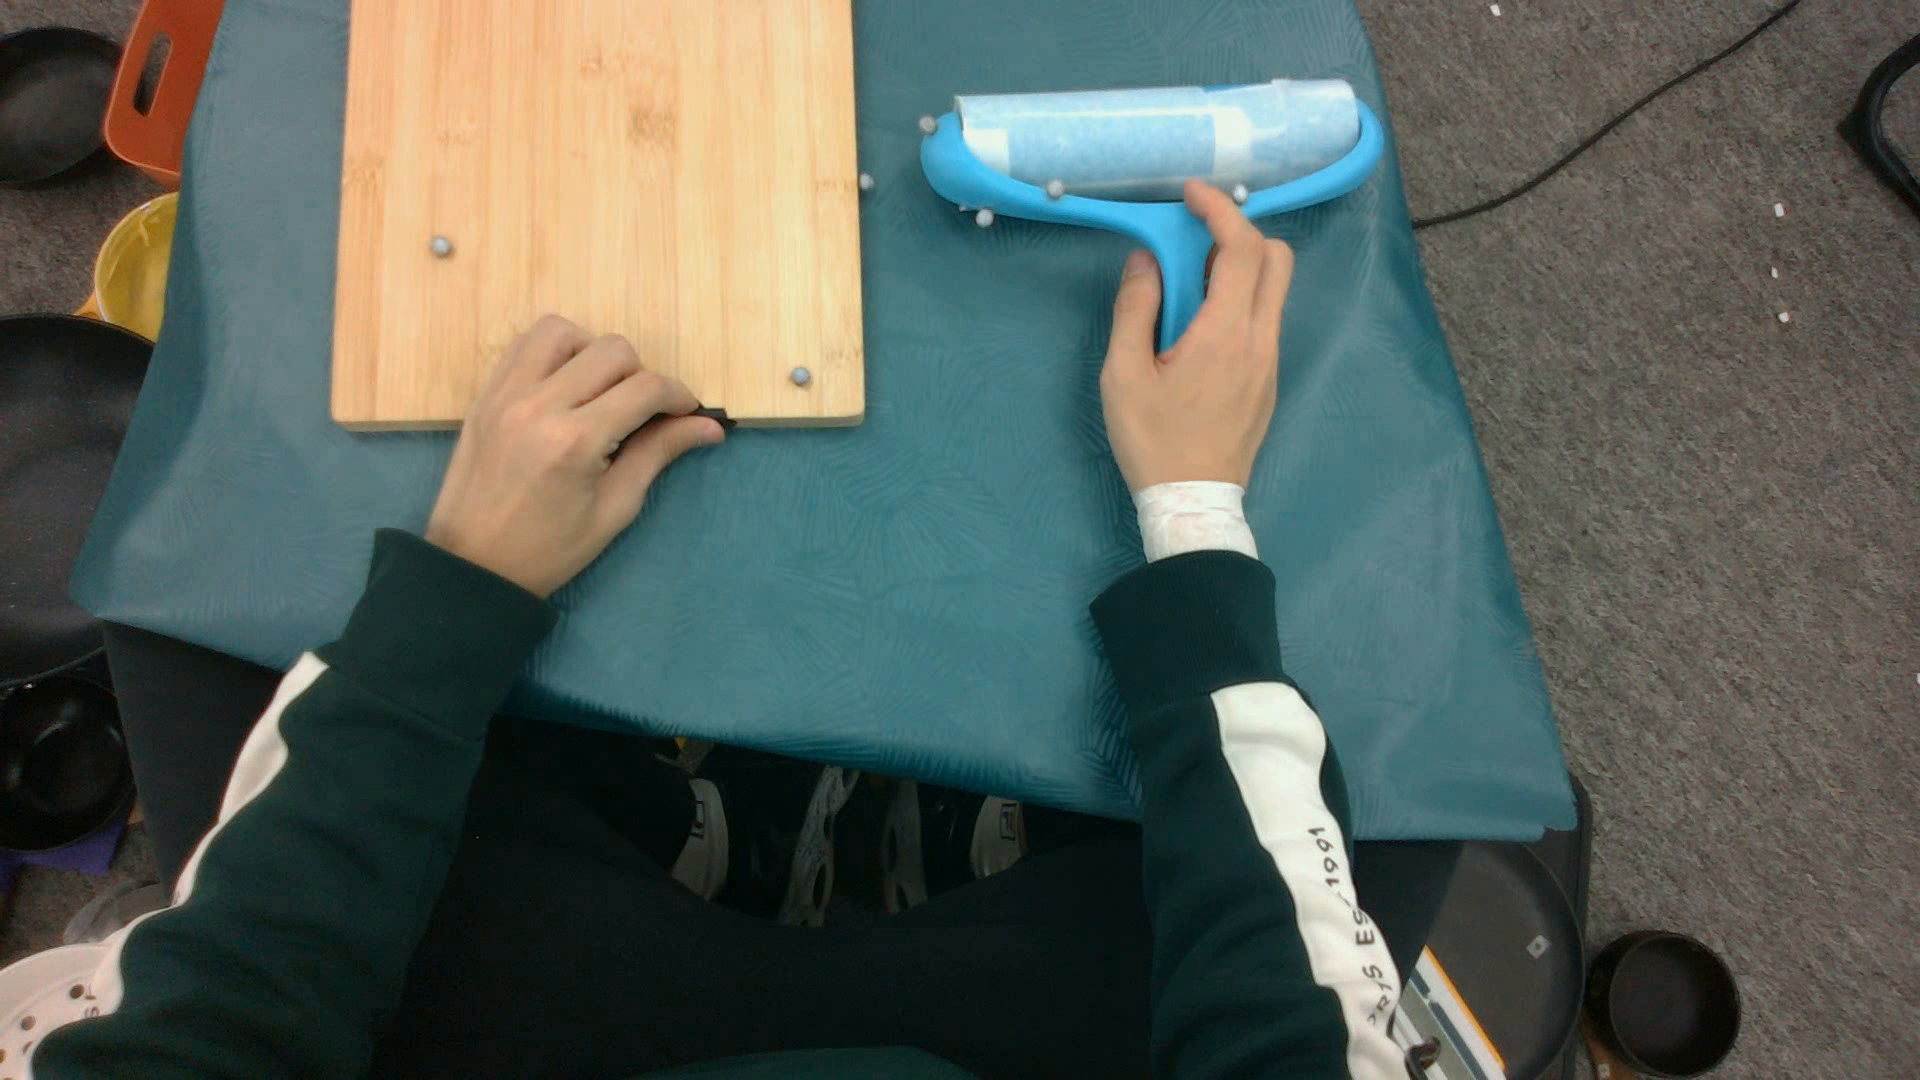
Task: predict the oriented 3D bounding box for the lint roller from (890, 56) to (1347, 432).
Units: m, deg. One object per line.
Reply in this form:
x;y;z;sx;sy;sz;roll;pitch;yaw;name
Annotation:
0.090;-0.147;0.671;0.229;0.068;0.180;-9;79;-9;lint roller

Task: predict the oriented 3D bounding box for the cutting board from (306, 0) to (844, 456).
-0.187;-0.214;0.676;0.251;0.023;0.349;-4;78;-7;cutting board
